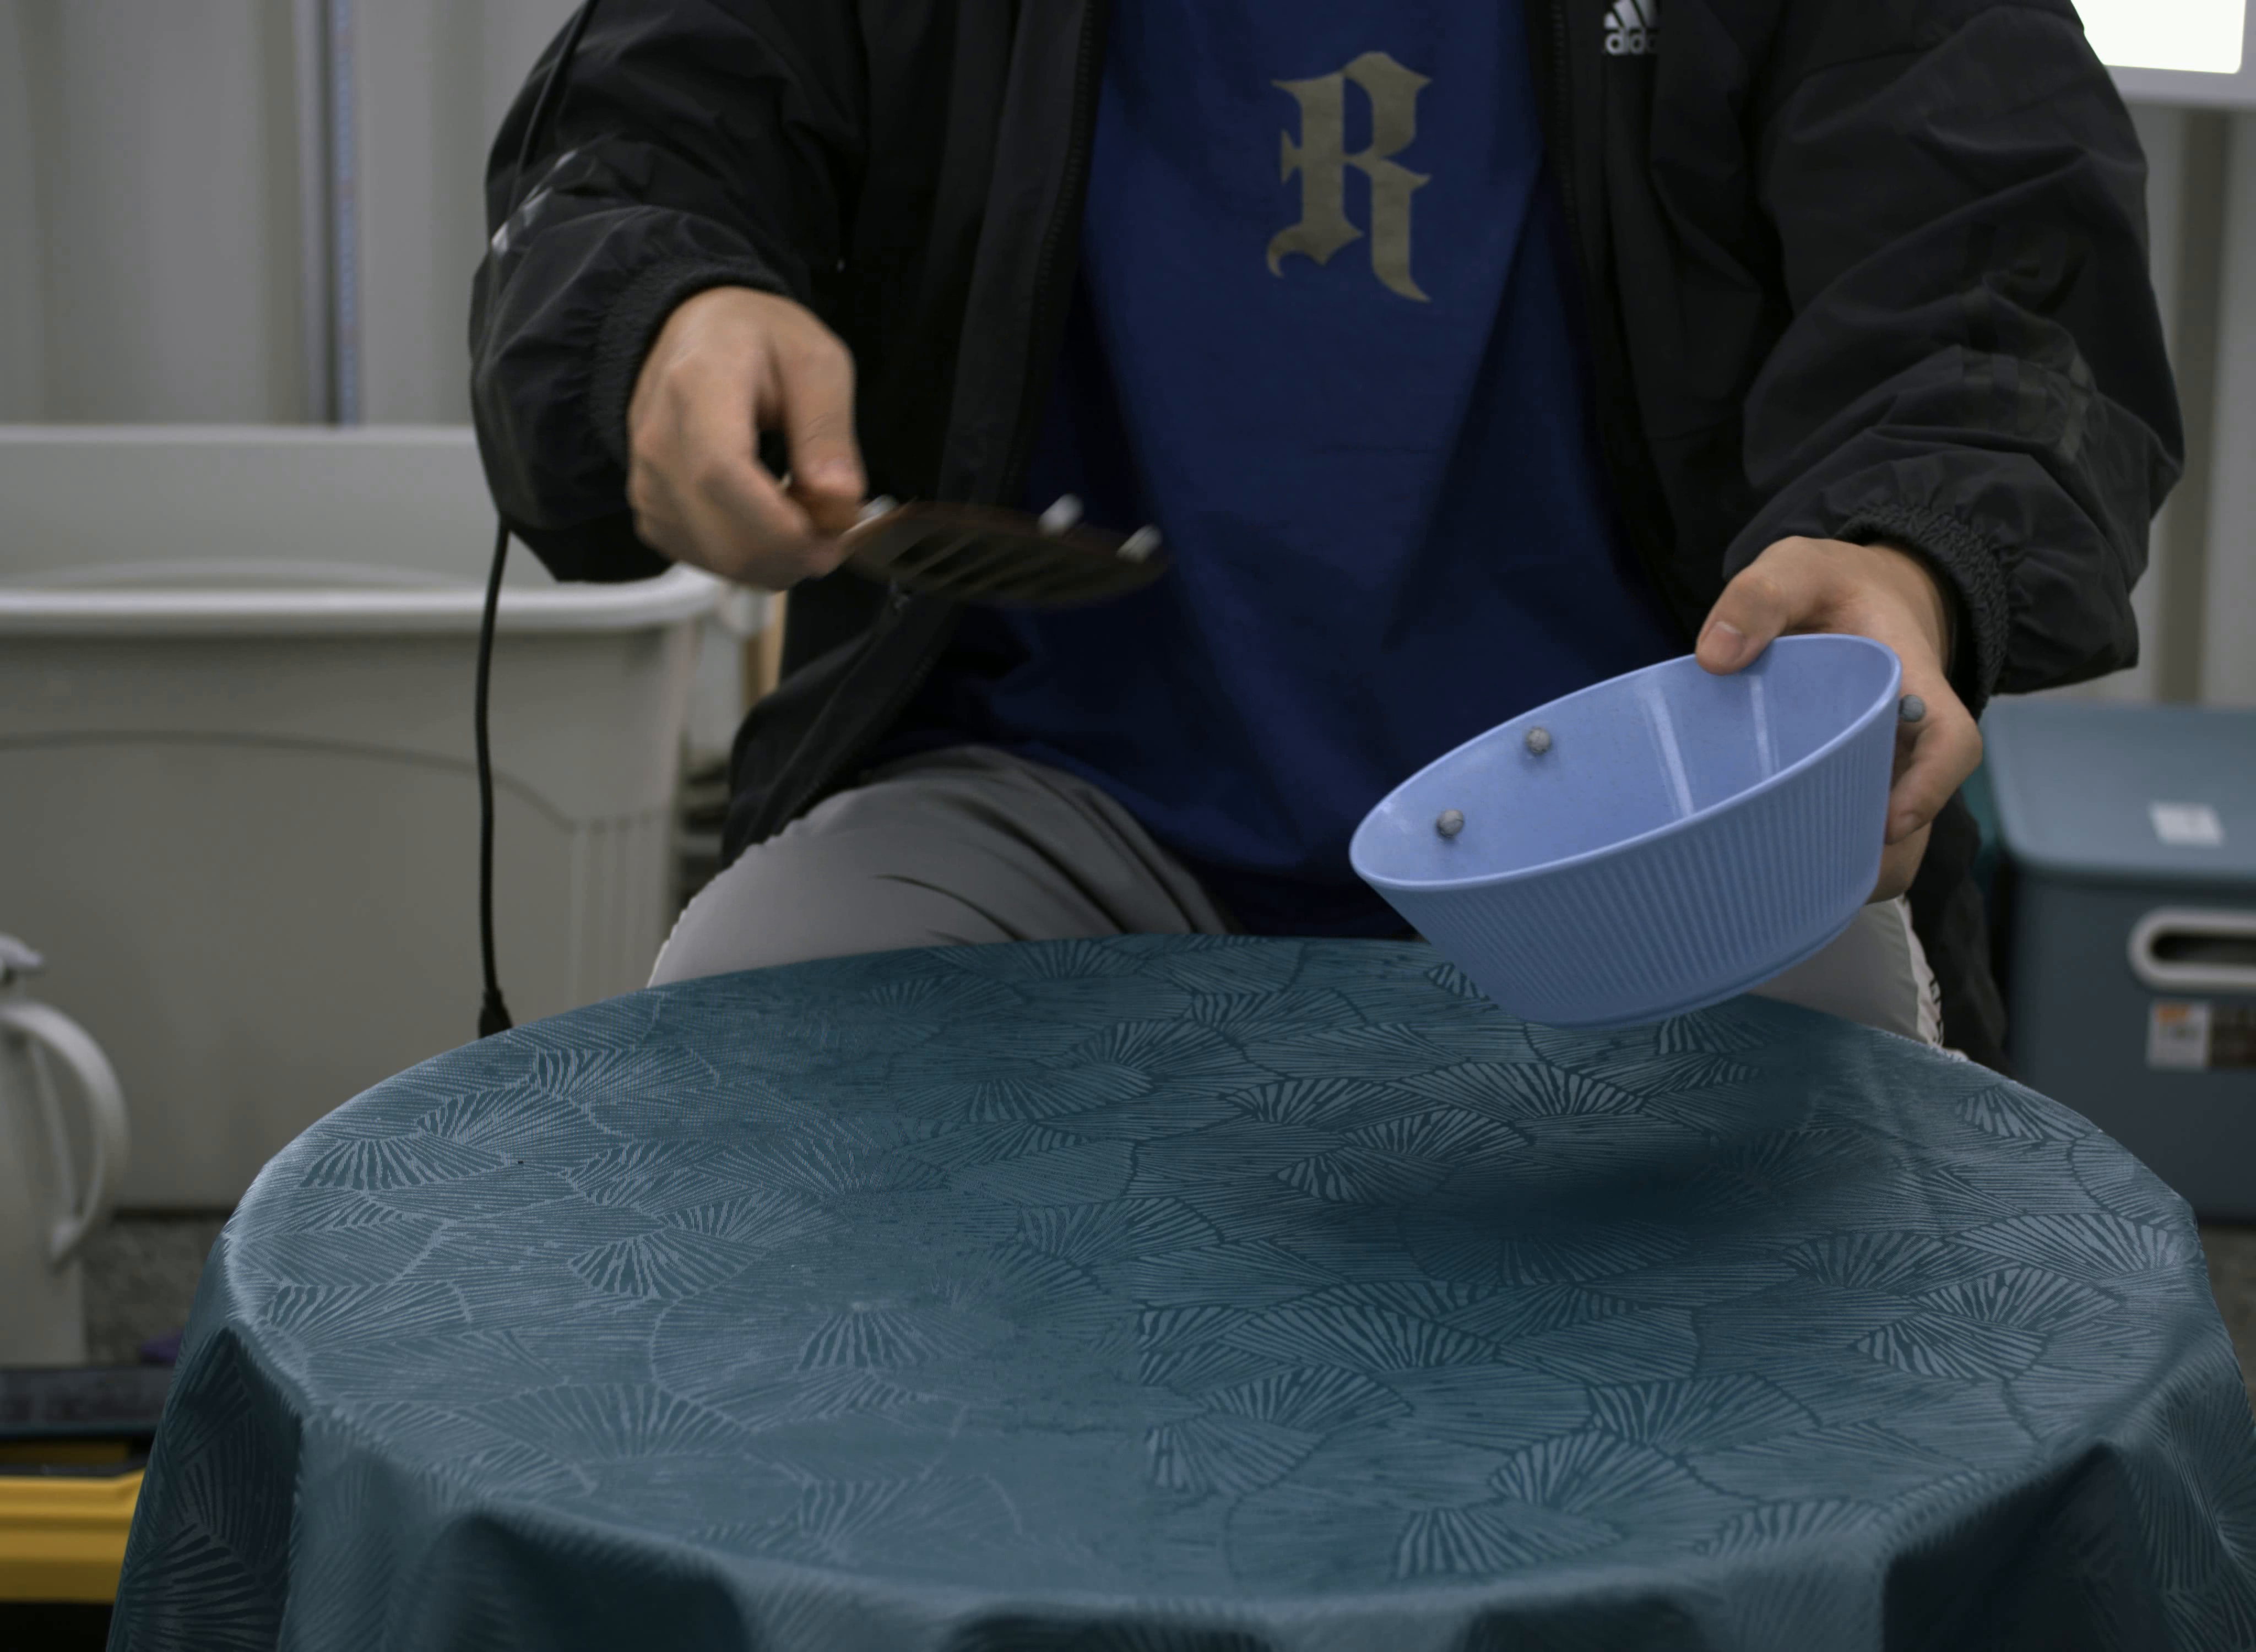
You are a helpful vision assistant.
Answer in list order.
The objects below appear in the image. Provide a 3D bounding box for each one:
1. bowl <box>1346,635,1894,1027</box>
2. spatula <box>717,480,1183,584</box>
[{"bbox_3d":[0.158,0.007,1.598,0.175,0.071,0.175,-20,13,6],"label":"bowl"},{"bbox_3d":[-0.078,-0.096,1.671,0.086,0.024,0.383,11,1,-19],"label":"spatula"}]
